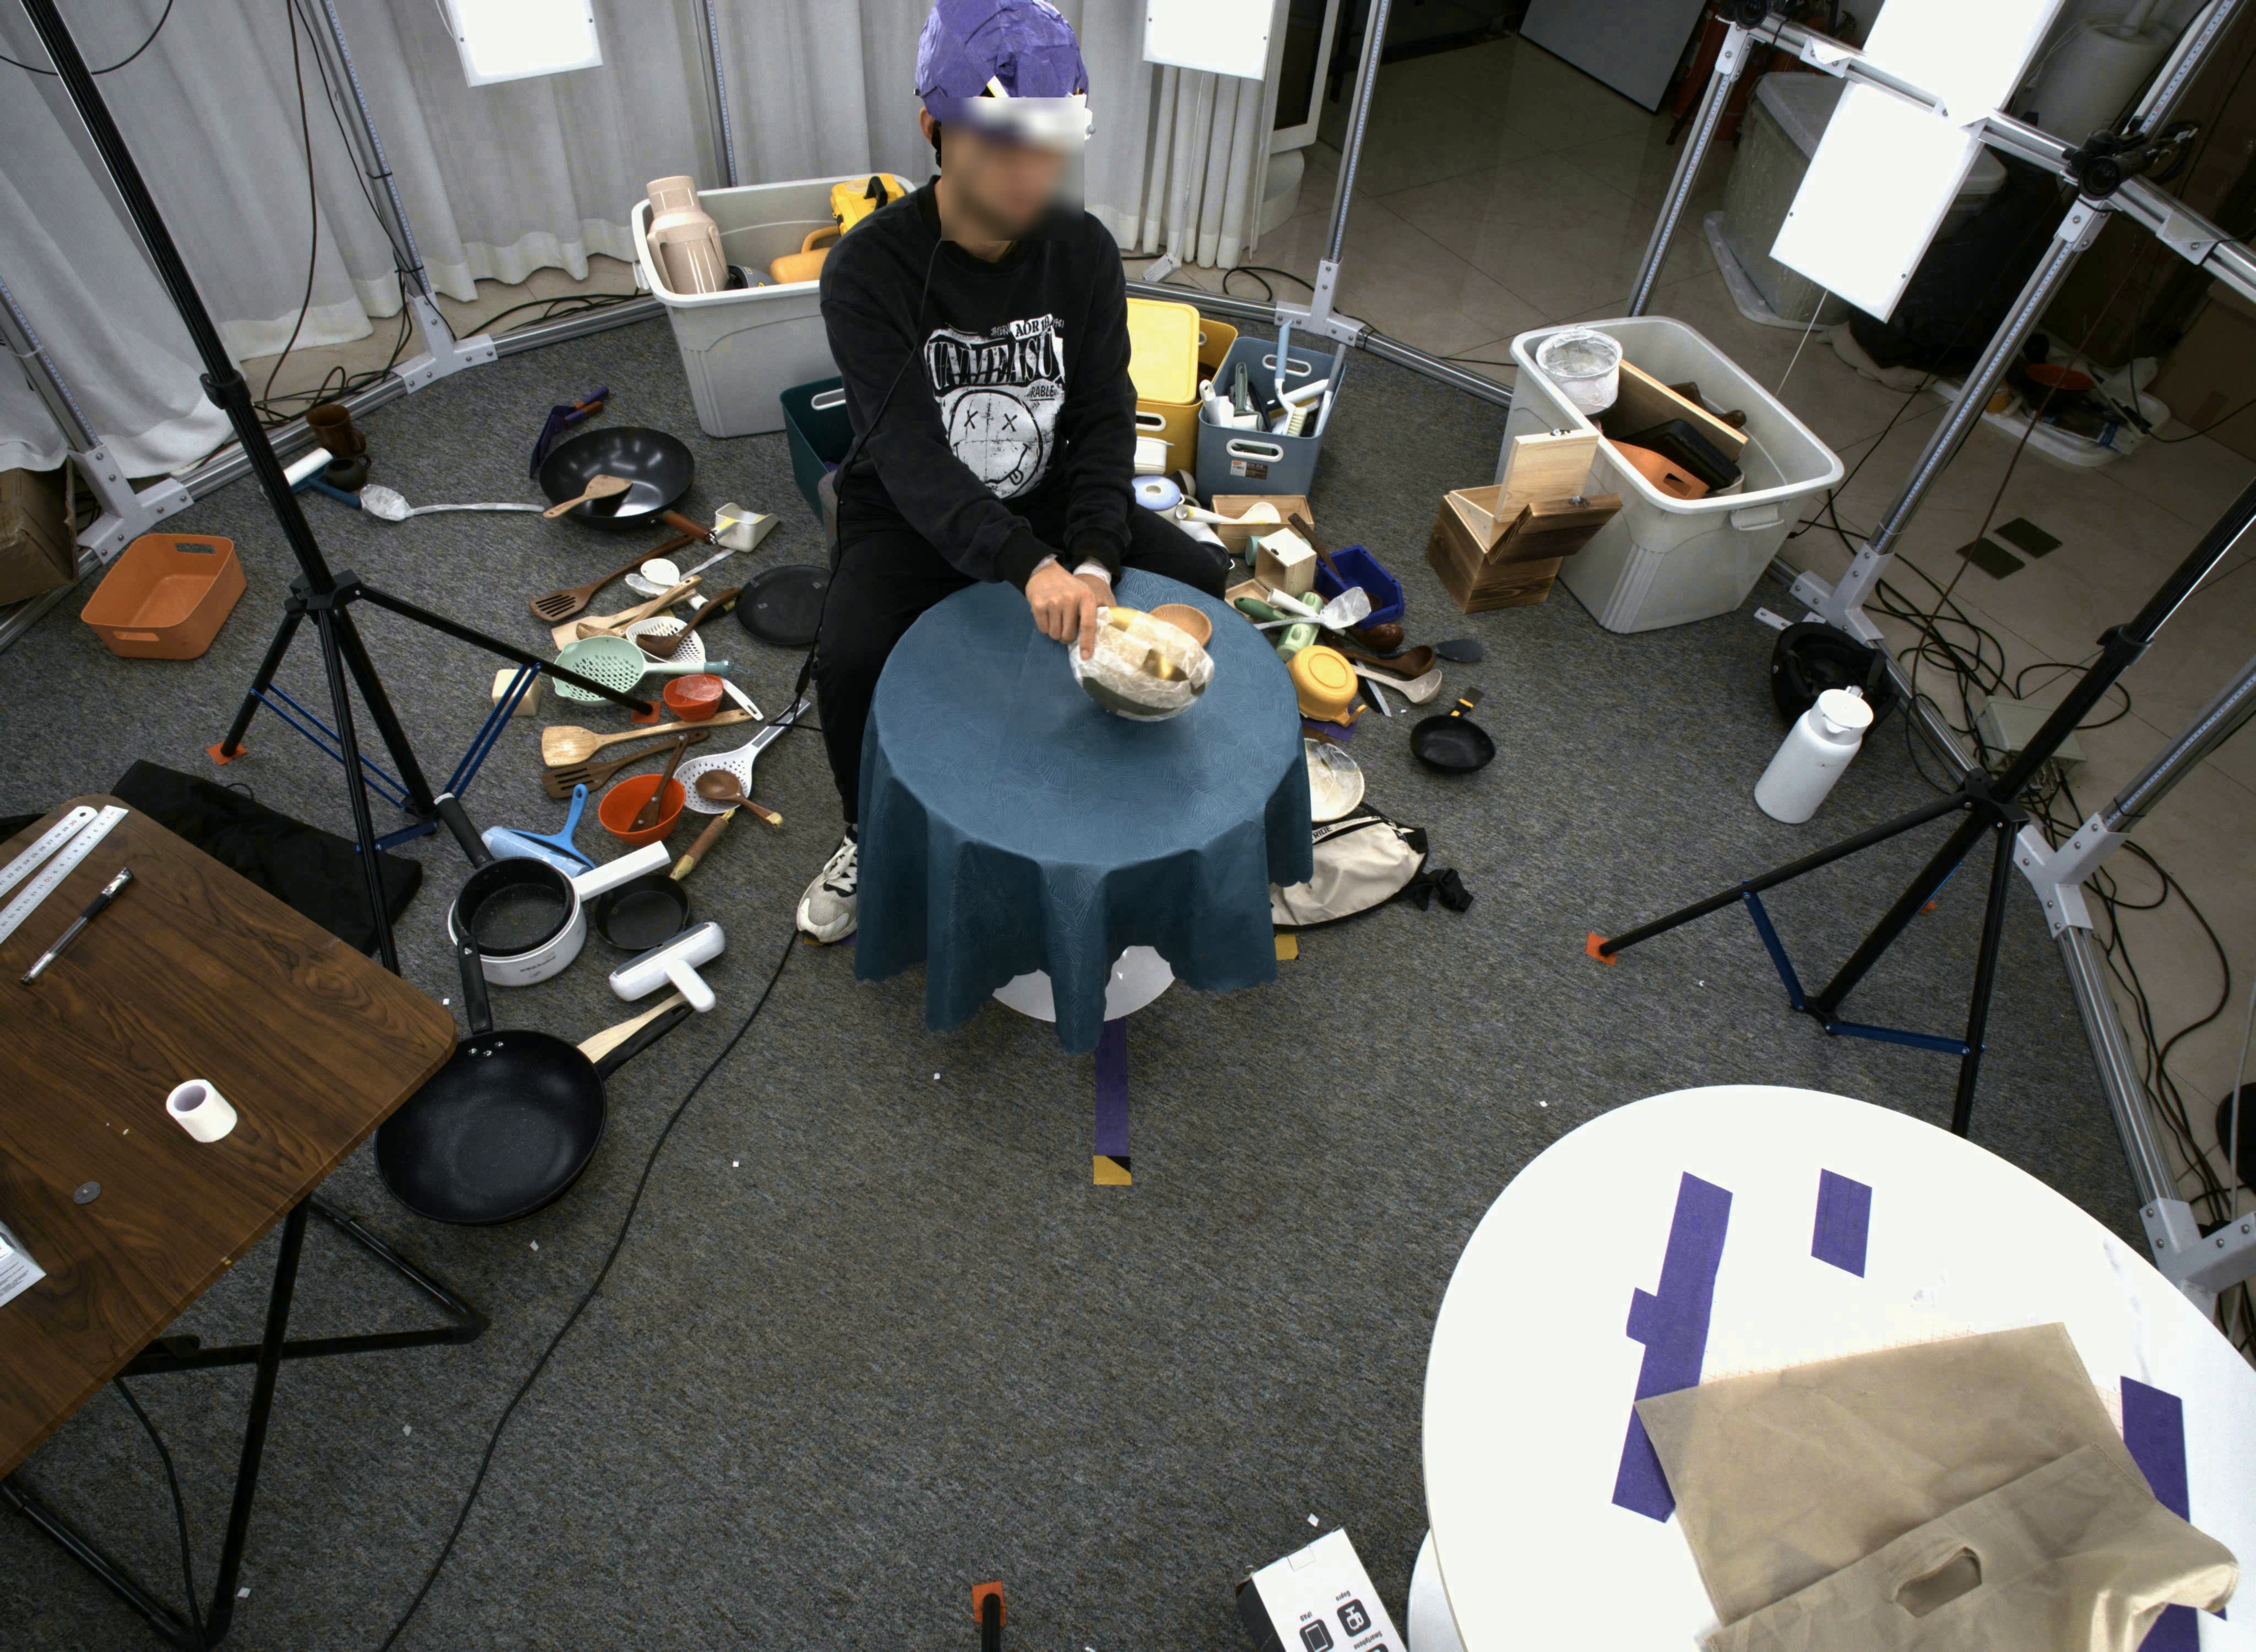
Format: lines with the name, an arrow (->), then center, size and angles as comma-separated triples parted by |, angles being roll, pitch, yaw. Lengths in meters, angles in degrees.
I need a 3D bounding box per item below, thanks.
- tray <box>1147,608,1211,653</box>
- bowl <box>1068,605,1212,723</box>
tray -> 0.042, -0.247, 1.893 | 0.102, 0.020, 0.235 | 23, 53, 18
bowl -> 0.002, -0.198, 1.725 | 0.216, 0.211, 0.096 | 19, 72, 12
